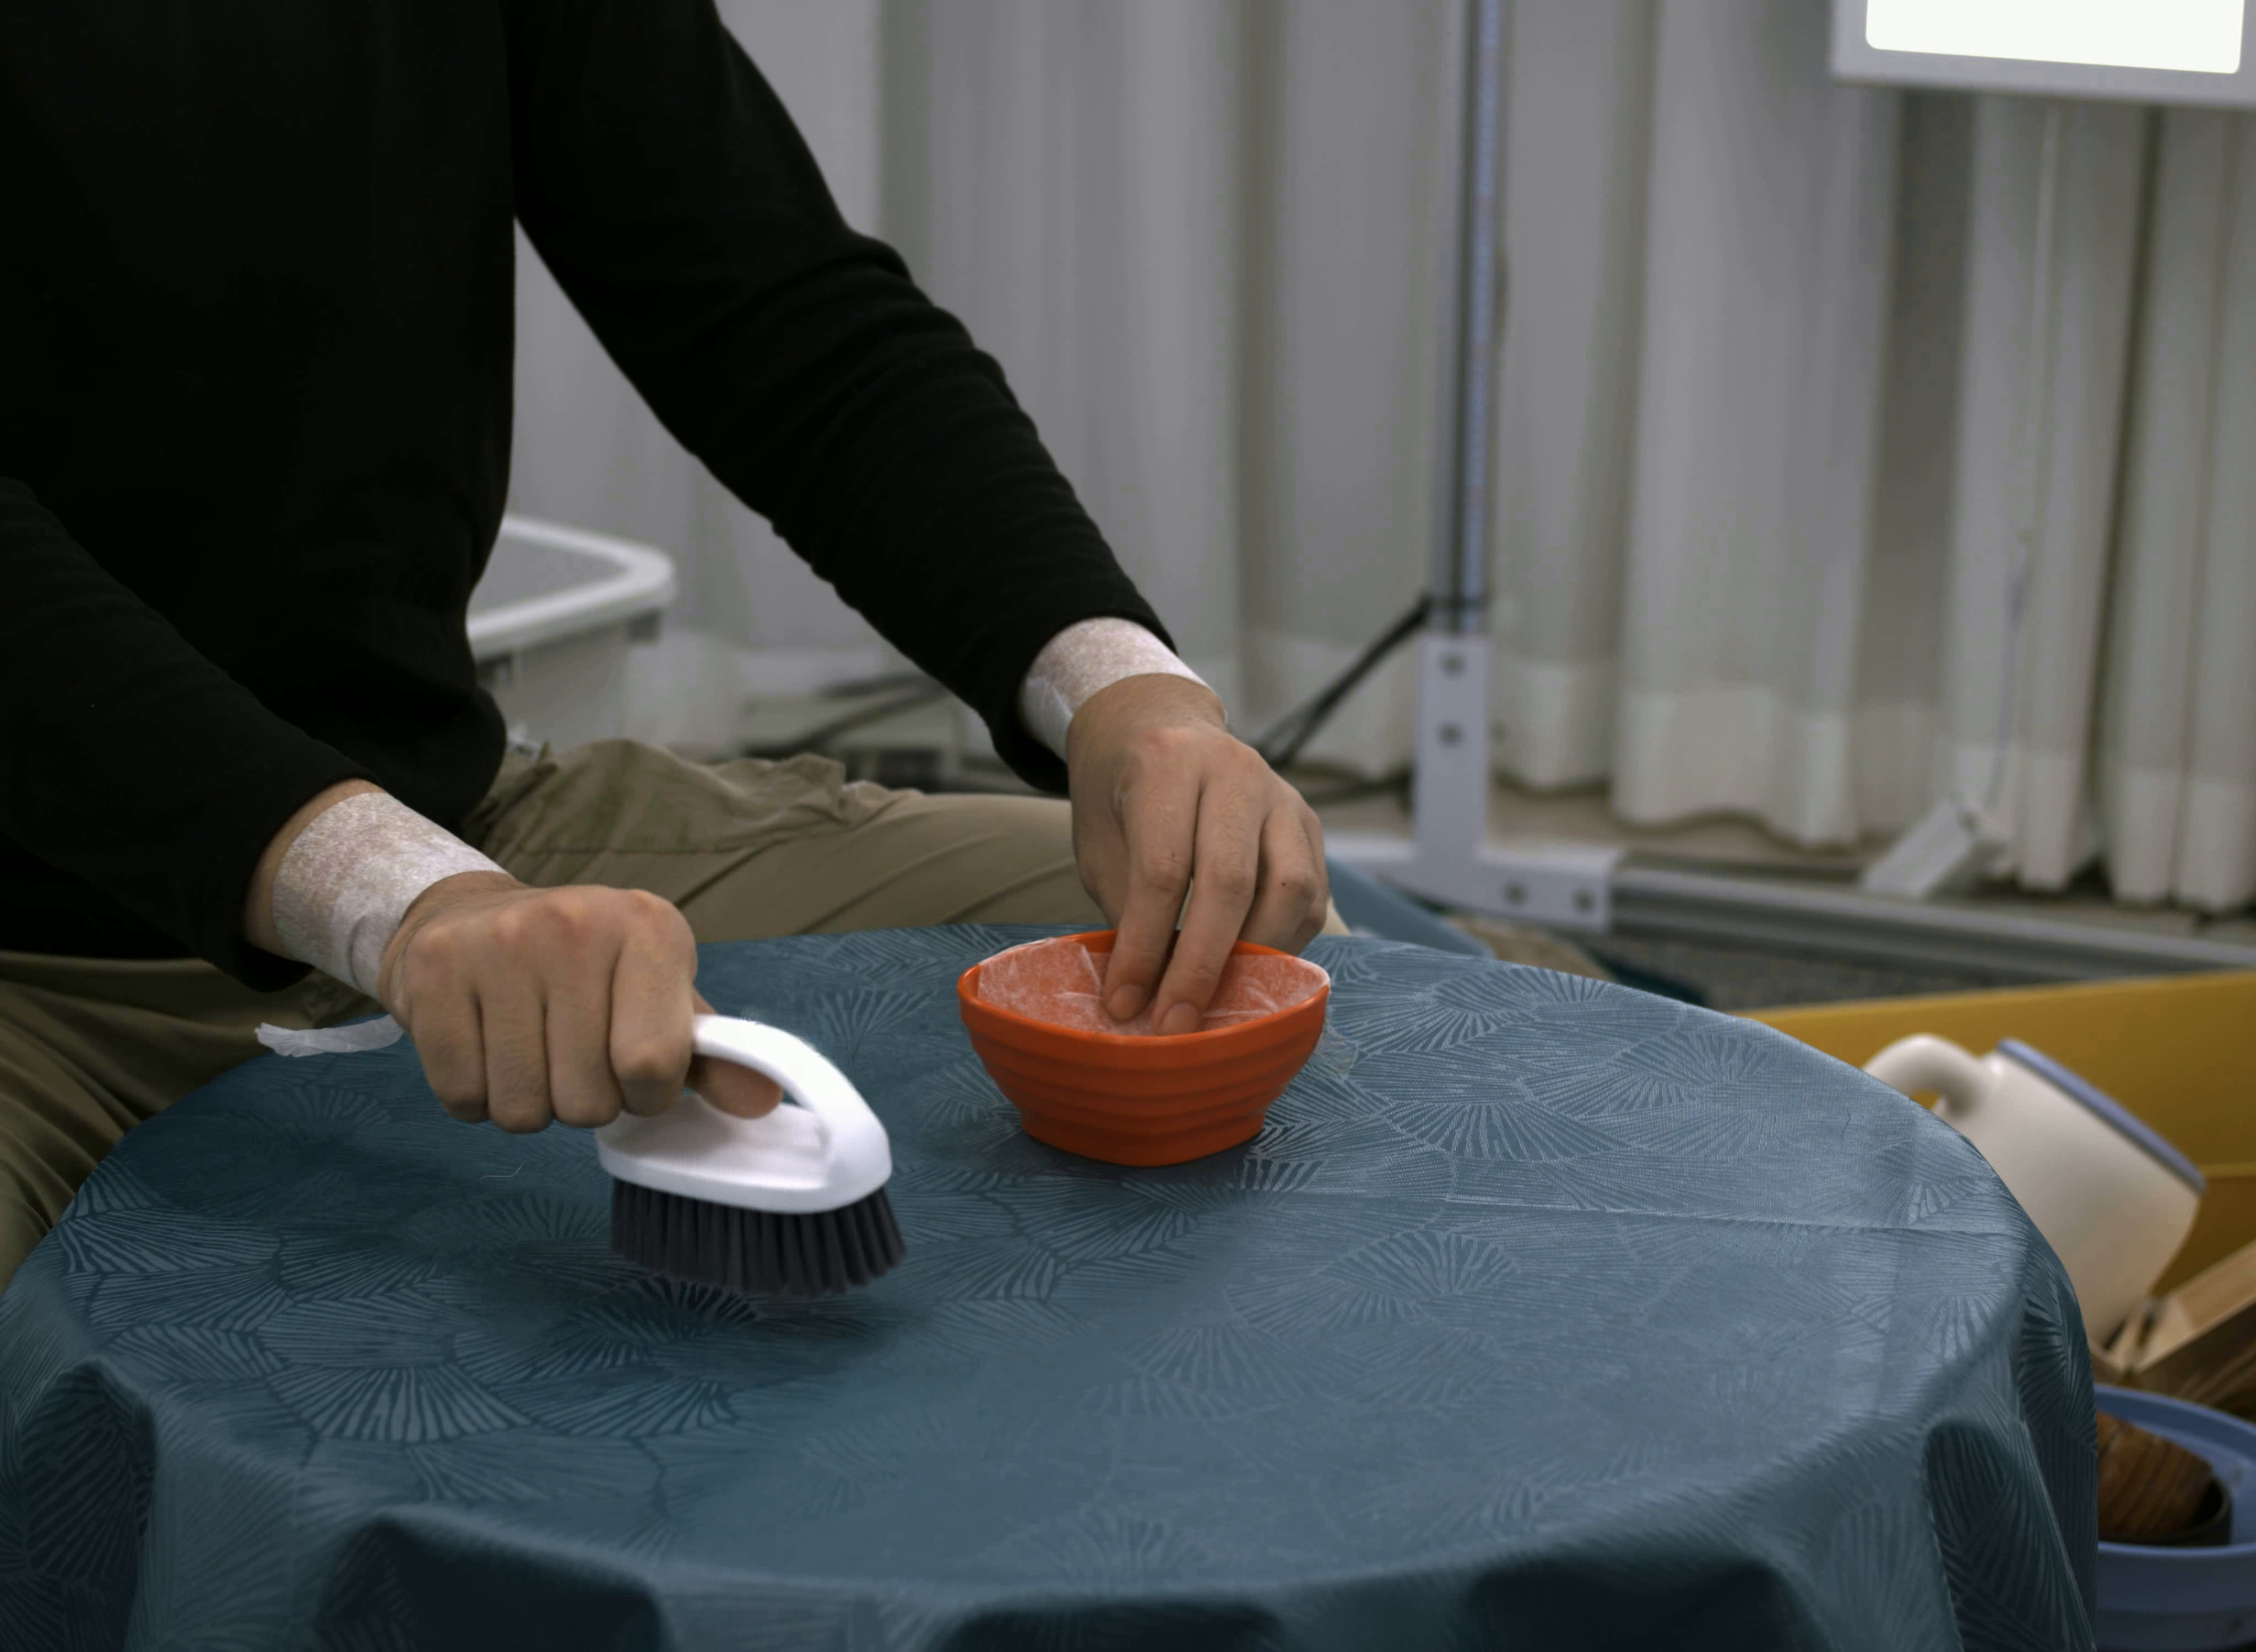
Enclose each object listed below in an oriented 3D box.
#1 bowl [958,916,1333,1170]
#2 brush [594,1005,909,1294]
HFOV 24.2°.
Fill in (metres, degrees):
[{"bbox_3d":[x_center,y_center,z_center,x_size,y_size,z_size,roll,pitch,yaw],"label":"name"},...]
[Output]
[{"bbox_3d":[0.005,0.071,1.670,0.118,0.052,0.118,2,19,0],"label":"bowl"},{"bbox_3d":[-0.112,0.087,1.509,0.098,0.073,0.050,9,29,39],"label":"brush"}]
